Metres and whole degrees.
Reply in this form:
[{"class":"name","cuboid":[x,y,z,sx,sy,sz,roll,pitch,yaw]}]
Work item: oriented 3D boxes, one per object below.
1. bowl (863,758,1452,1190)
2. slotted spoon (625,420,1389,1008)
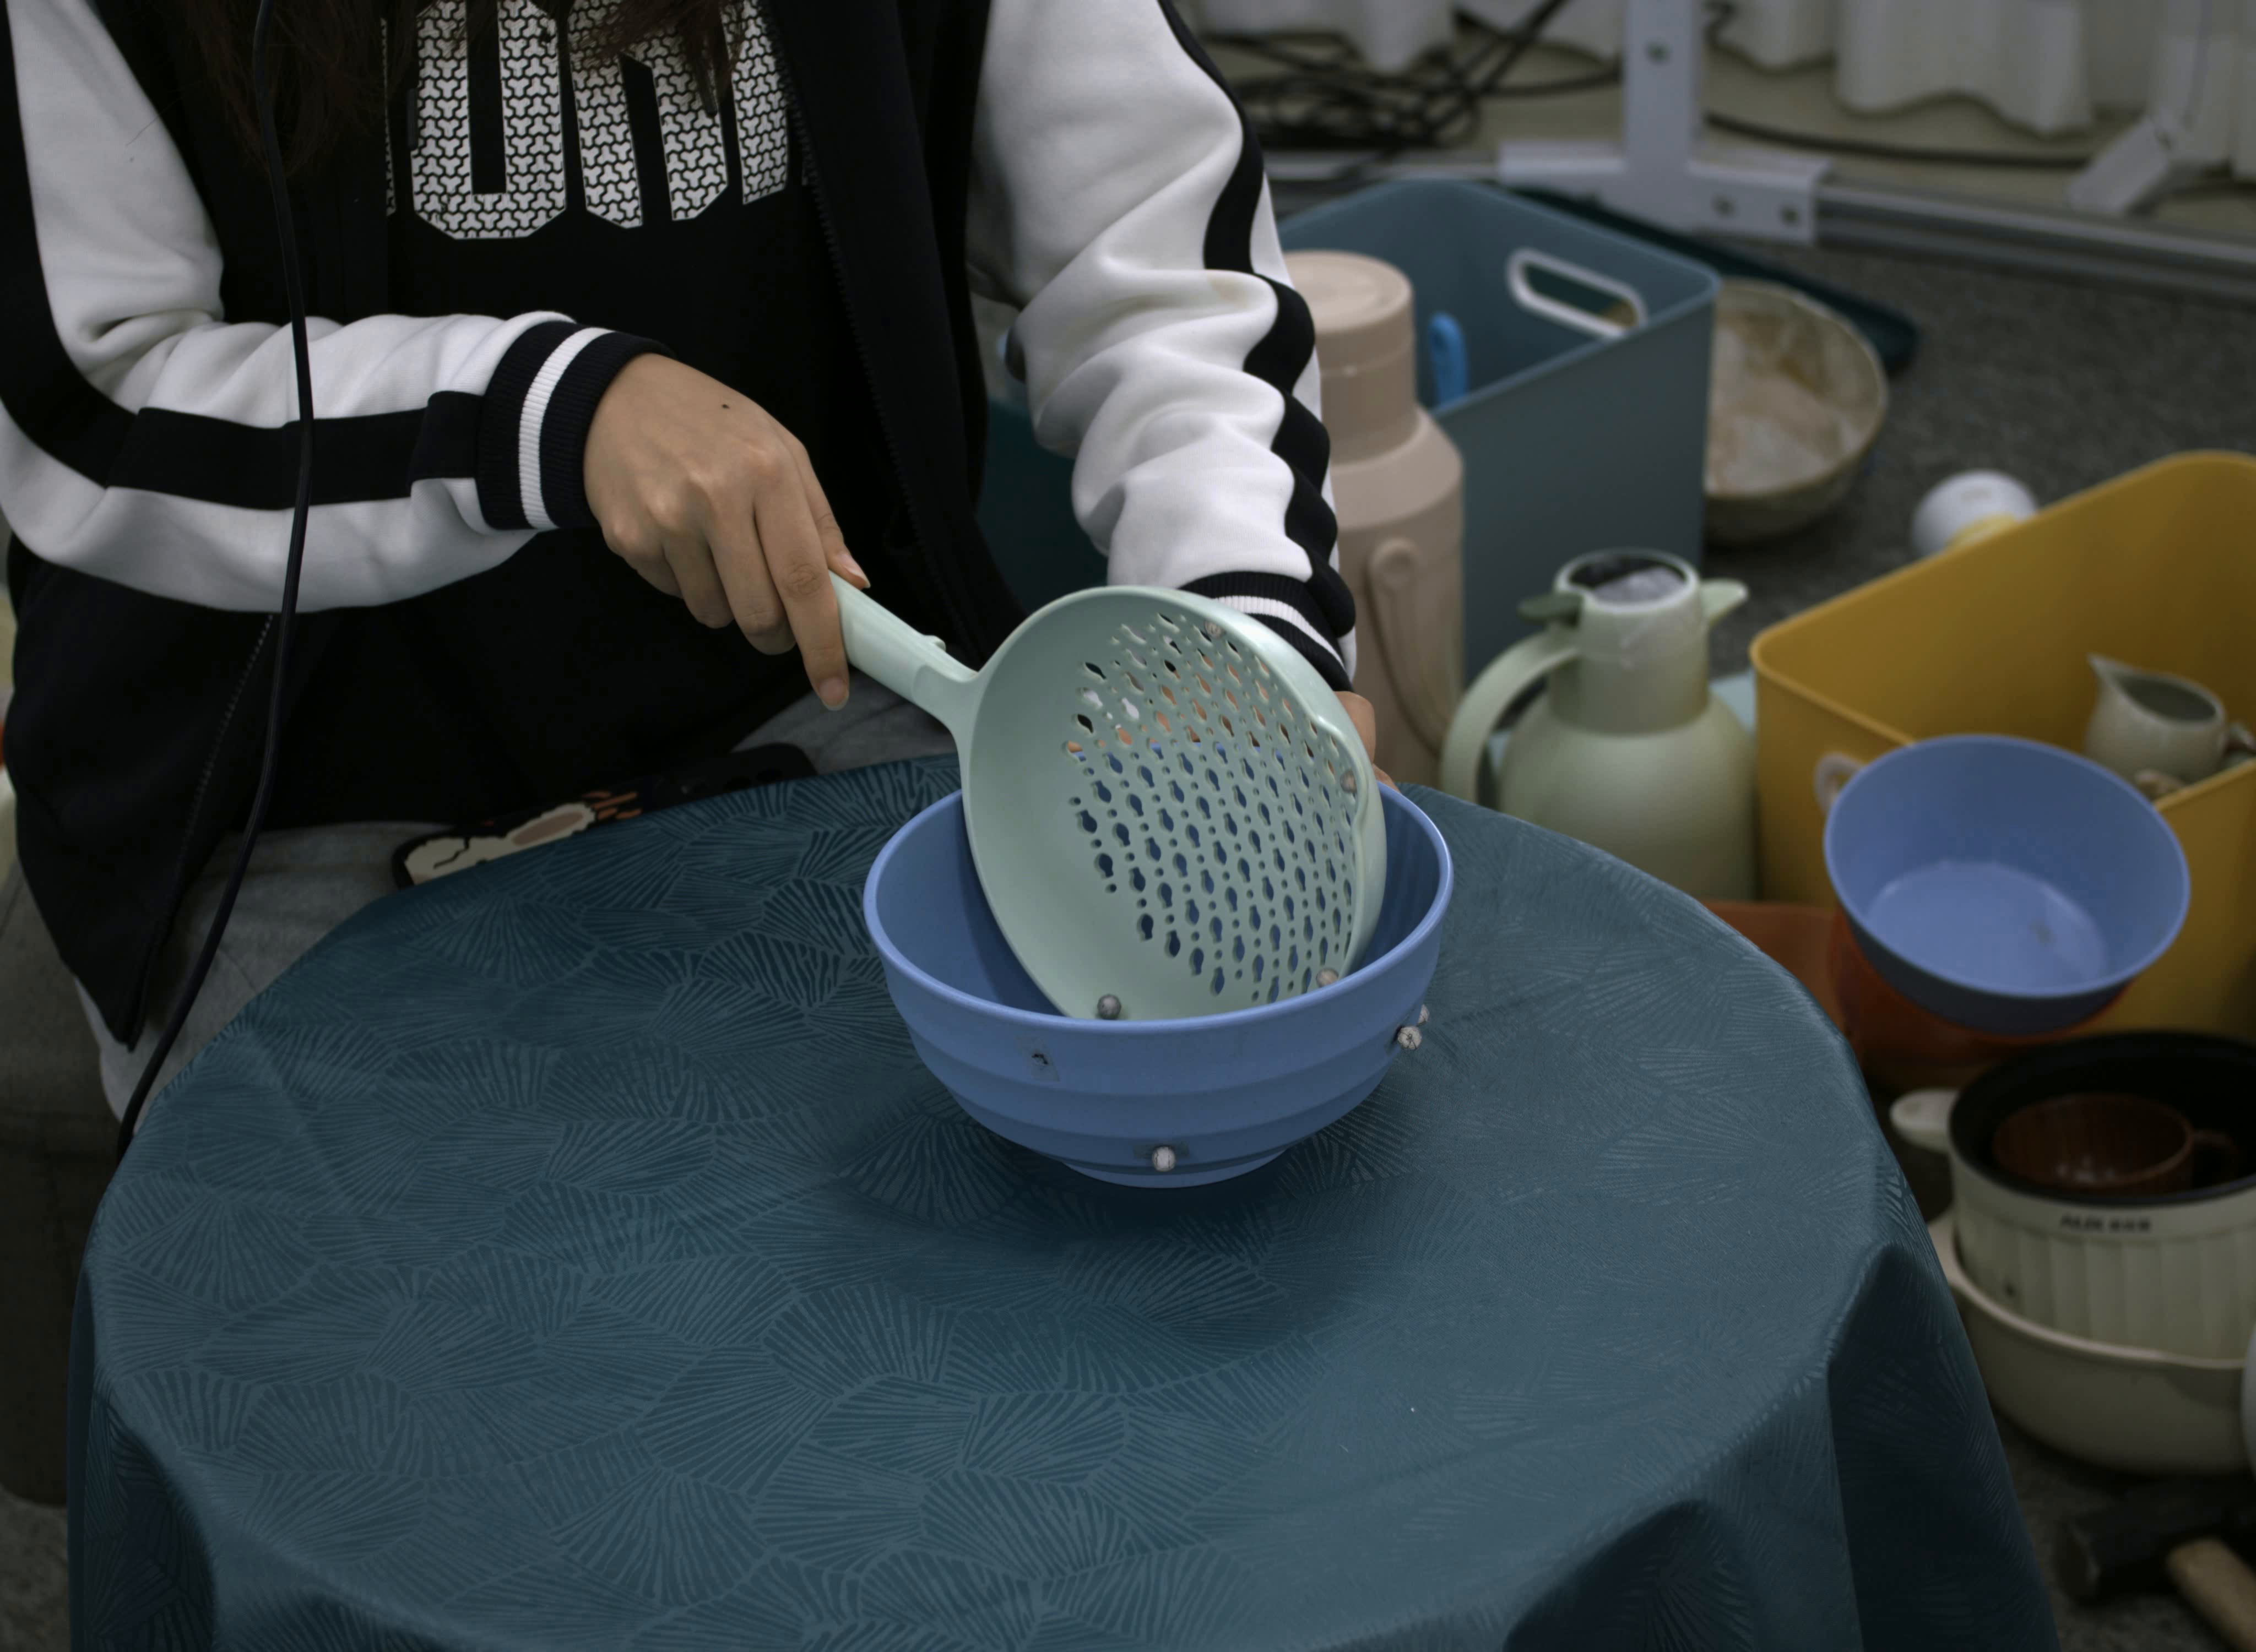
[{"class":"bowl","cuboid":[0.012,0.058,1.881,0.195,0.094,0.199,-3,27,2]},{"class":"slotted spoon","cuboid":[-0.053,-0.050,1.921,0.358,0.167,0.076,28,30,23]}]
